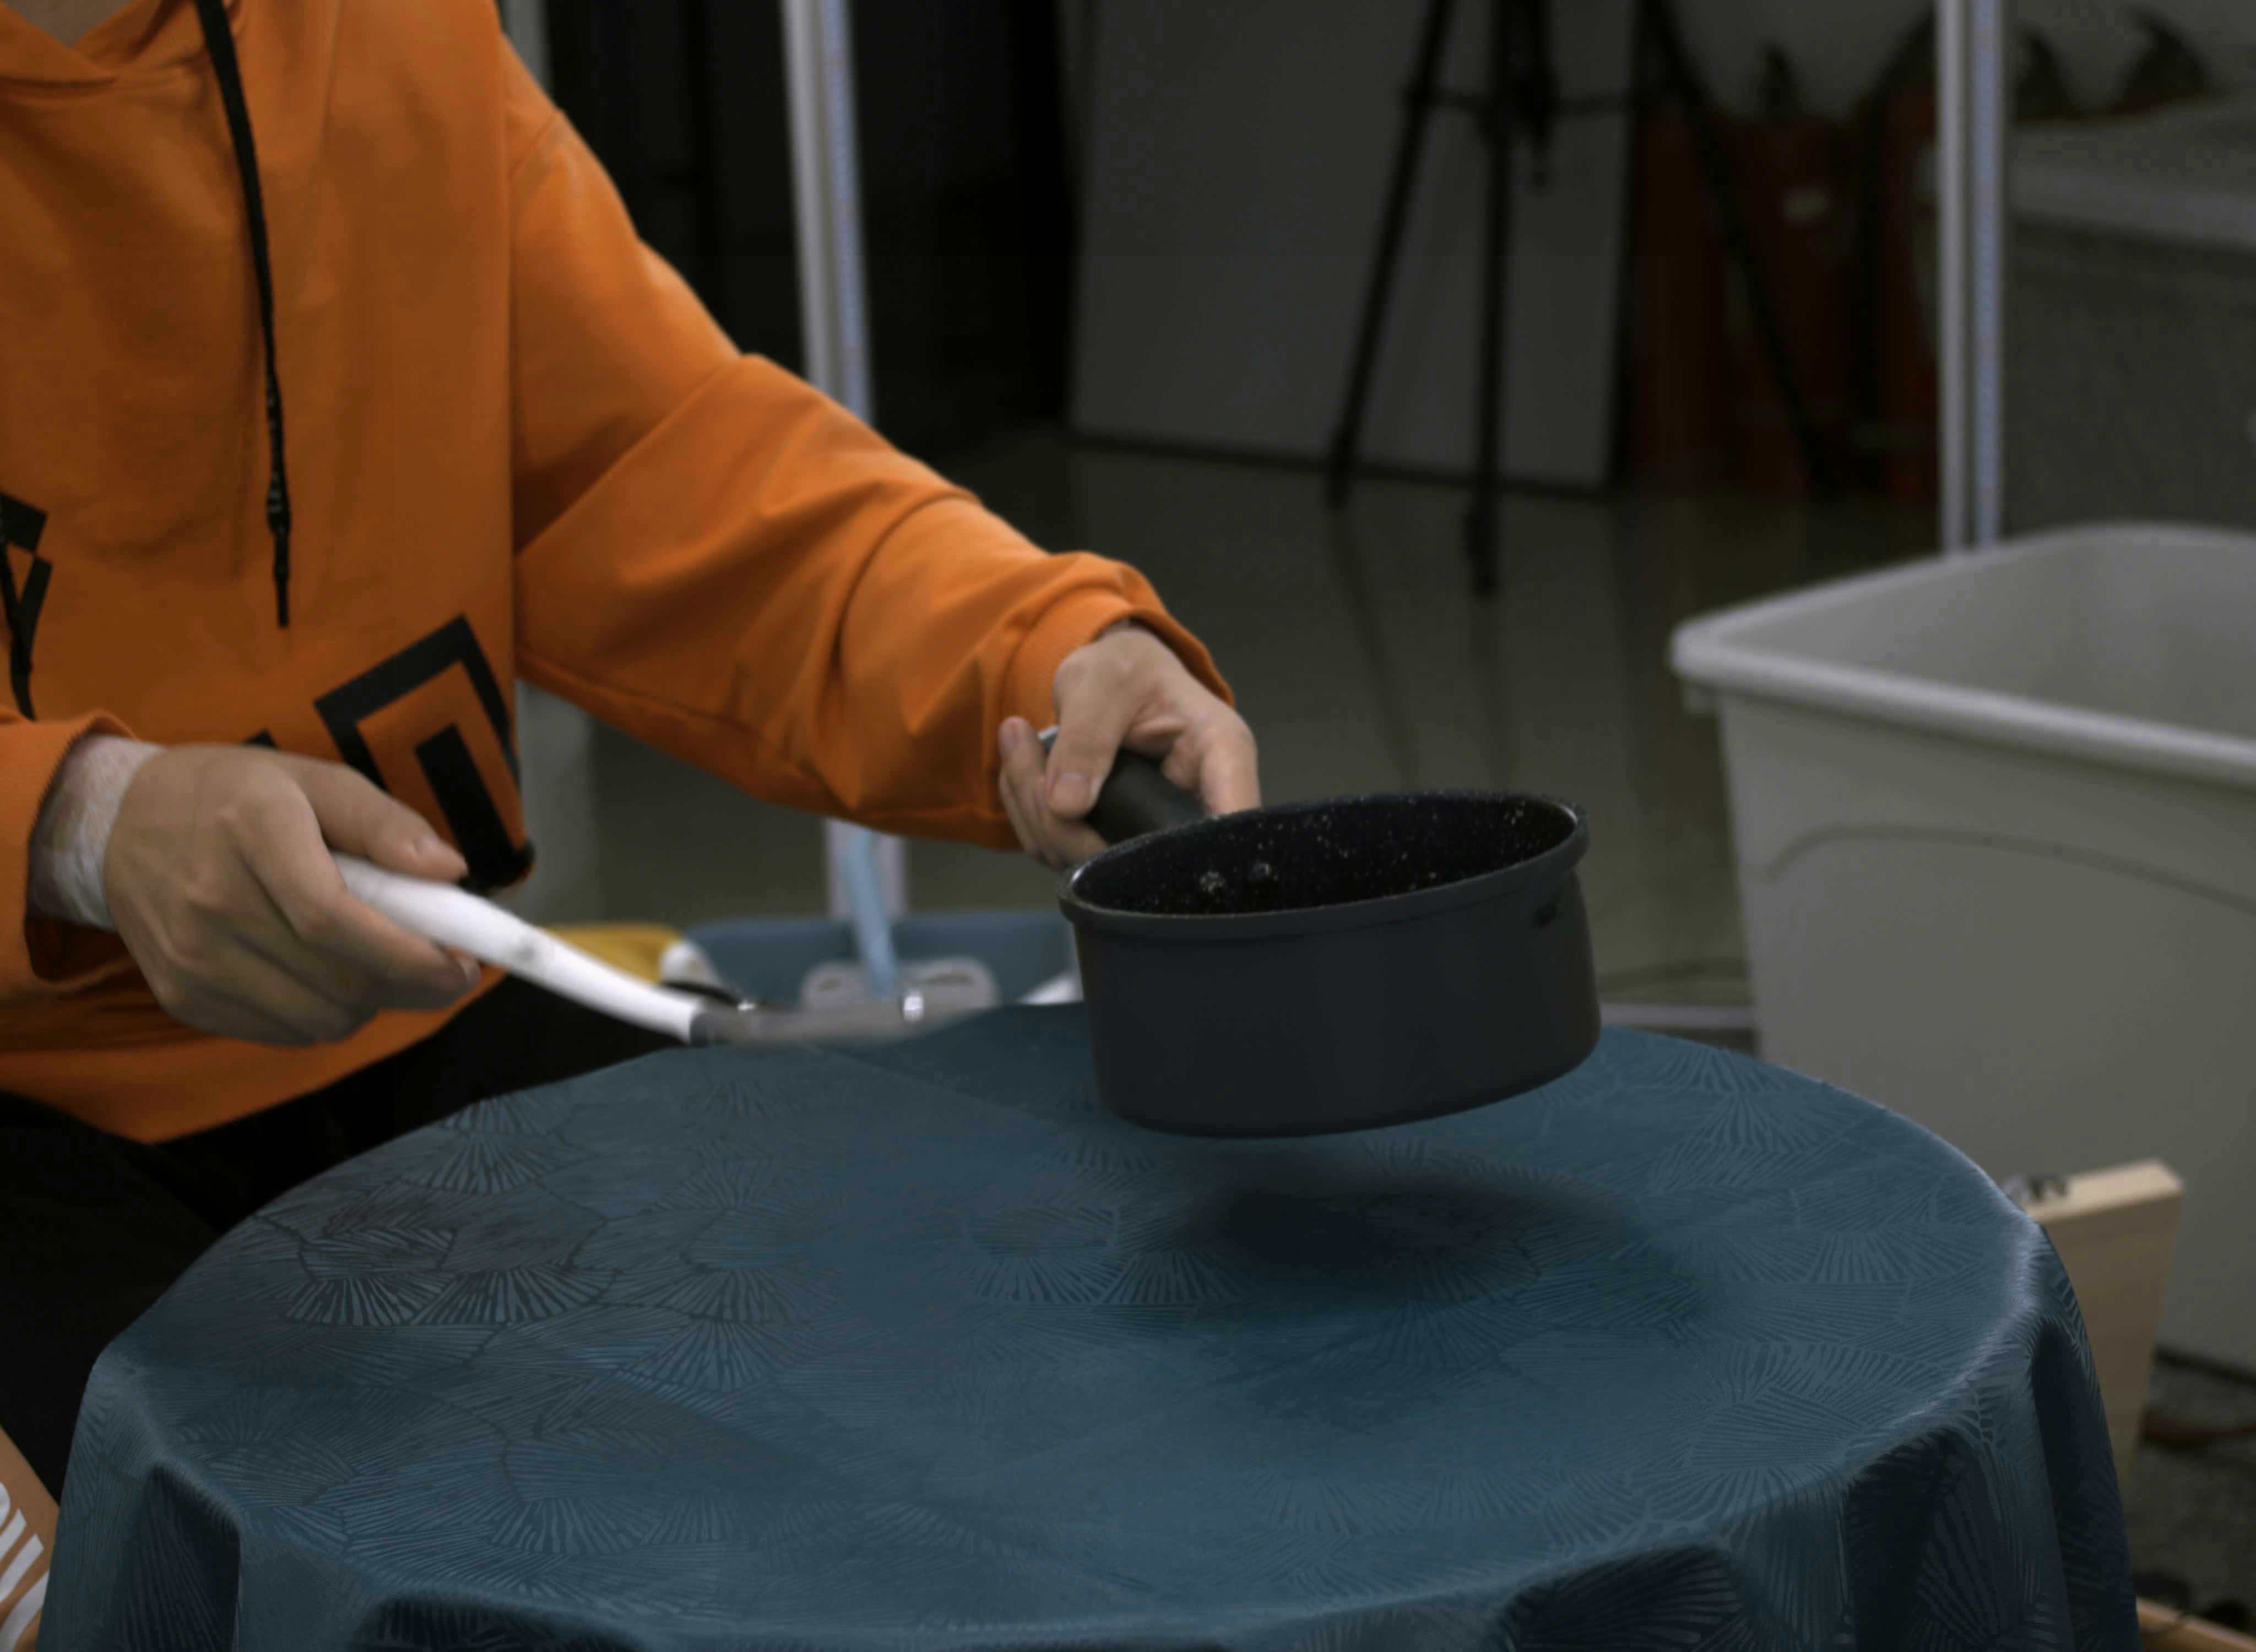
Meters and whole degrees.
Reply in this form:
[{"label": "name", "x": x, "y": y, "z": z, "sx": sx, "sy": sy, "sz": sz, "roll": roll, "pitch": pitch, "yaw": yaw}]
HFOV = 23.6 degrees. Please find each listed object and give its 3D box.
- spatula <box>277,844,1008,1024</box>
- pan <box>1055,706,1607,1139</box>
[{"label": "spatula", "x": -0.152, "y": 0.037, "z": 1.620, "sx": 0.290, "sy": 0.032, "sz": 0.057, "roll": 8, "pitch": 12, "yaw": 43}, {"label": "pan", "x": 0.041, "y": 0.026, "z": 1.778, "sx": 0.169, "sy": 0.087, "sz": 0.331, "roll": -11, "pitch": 12, "yaw": -16}]
